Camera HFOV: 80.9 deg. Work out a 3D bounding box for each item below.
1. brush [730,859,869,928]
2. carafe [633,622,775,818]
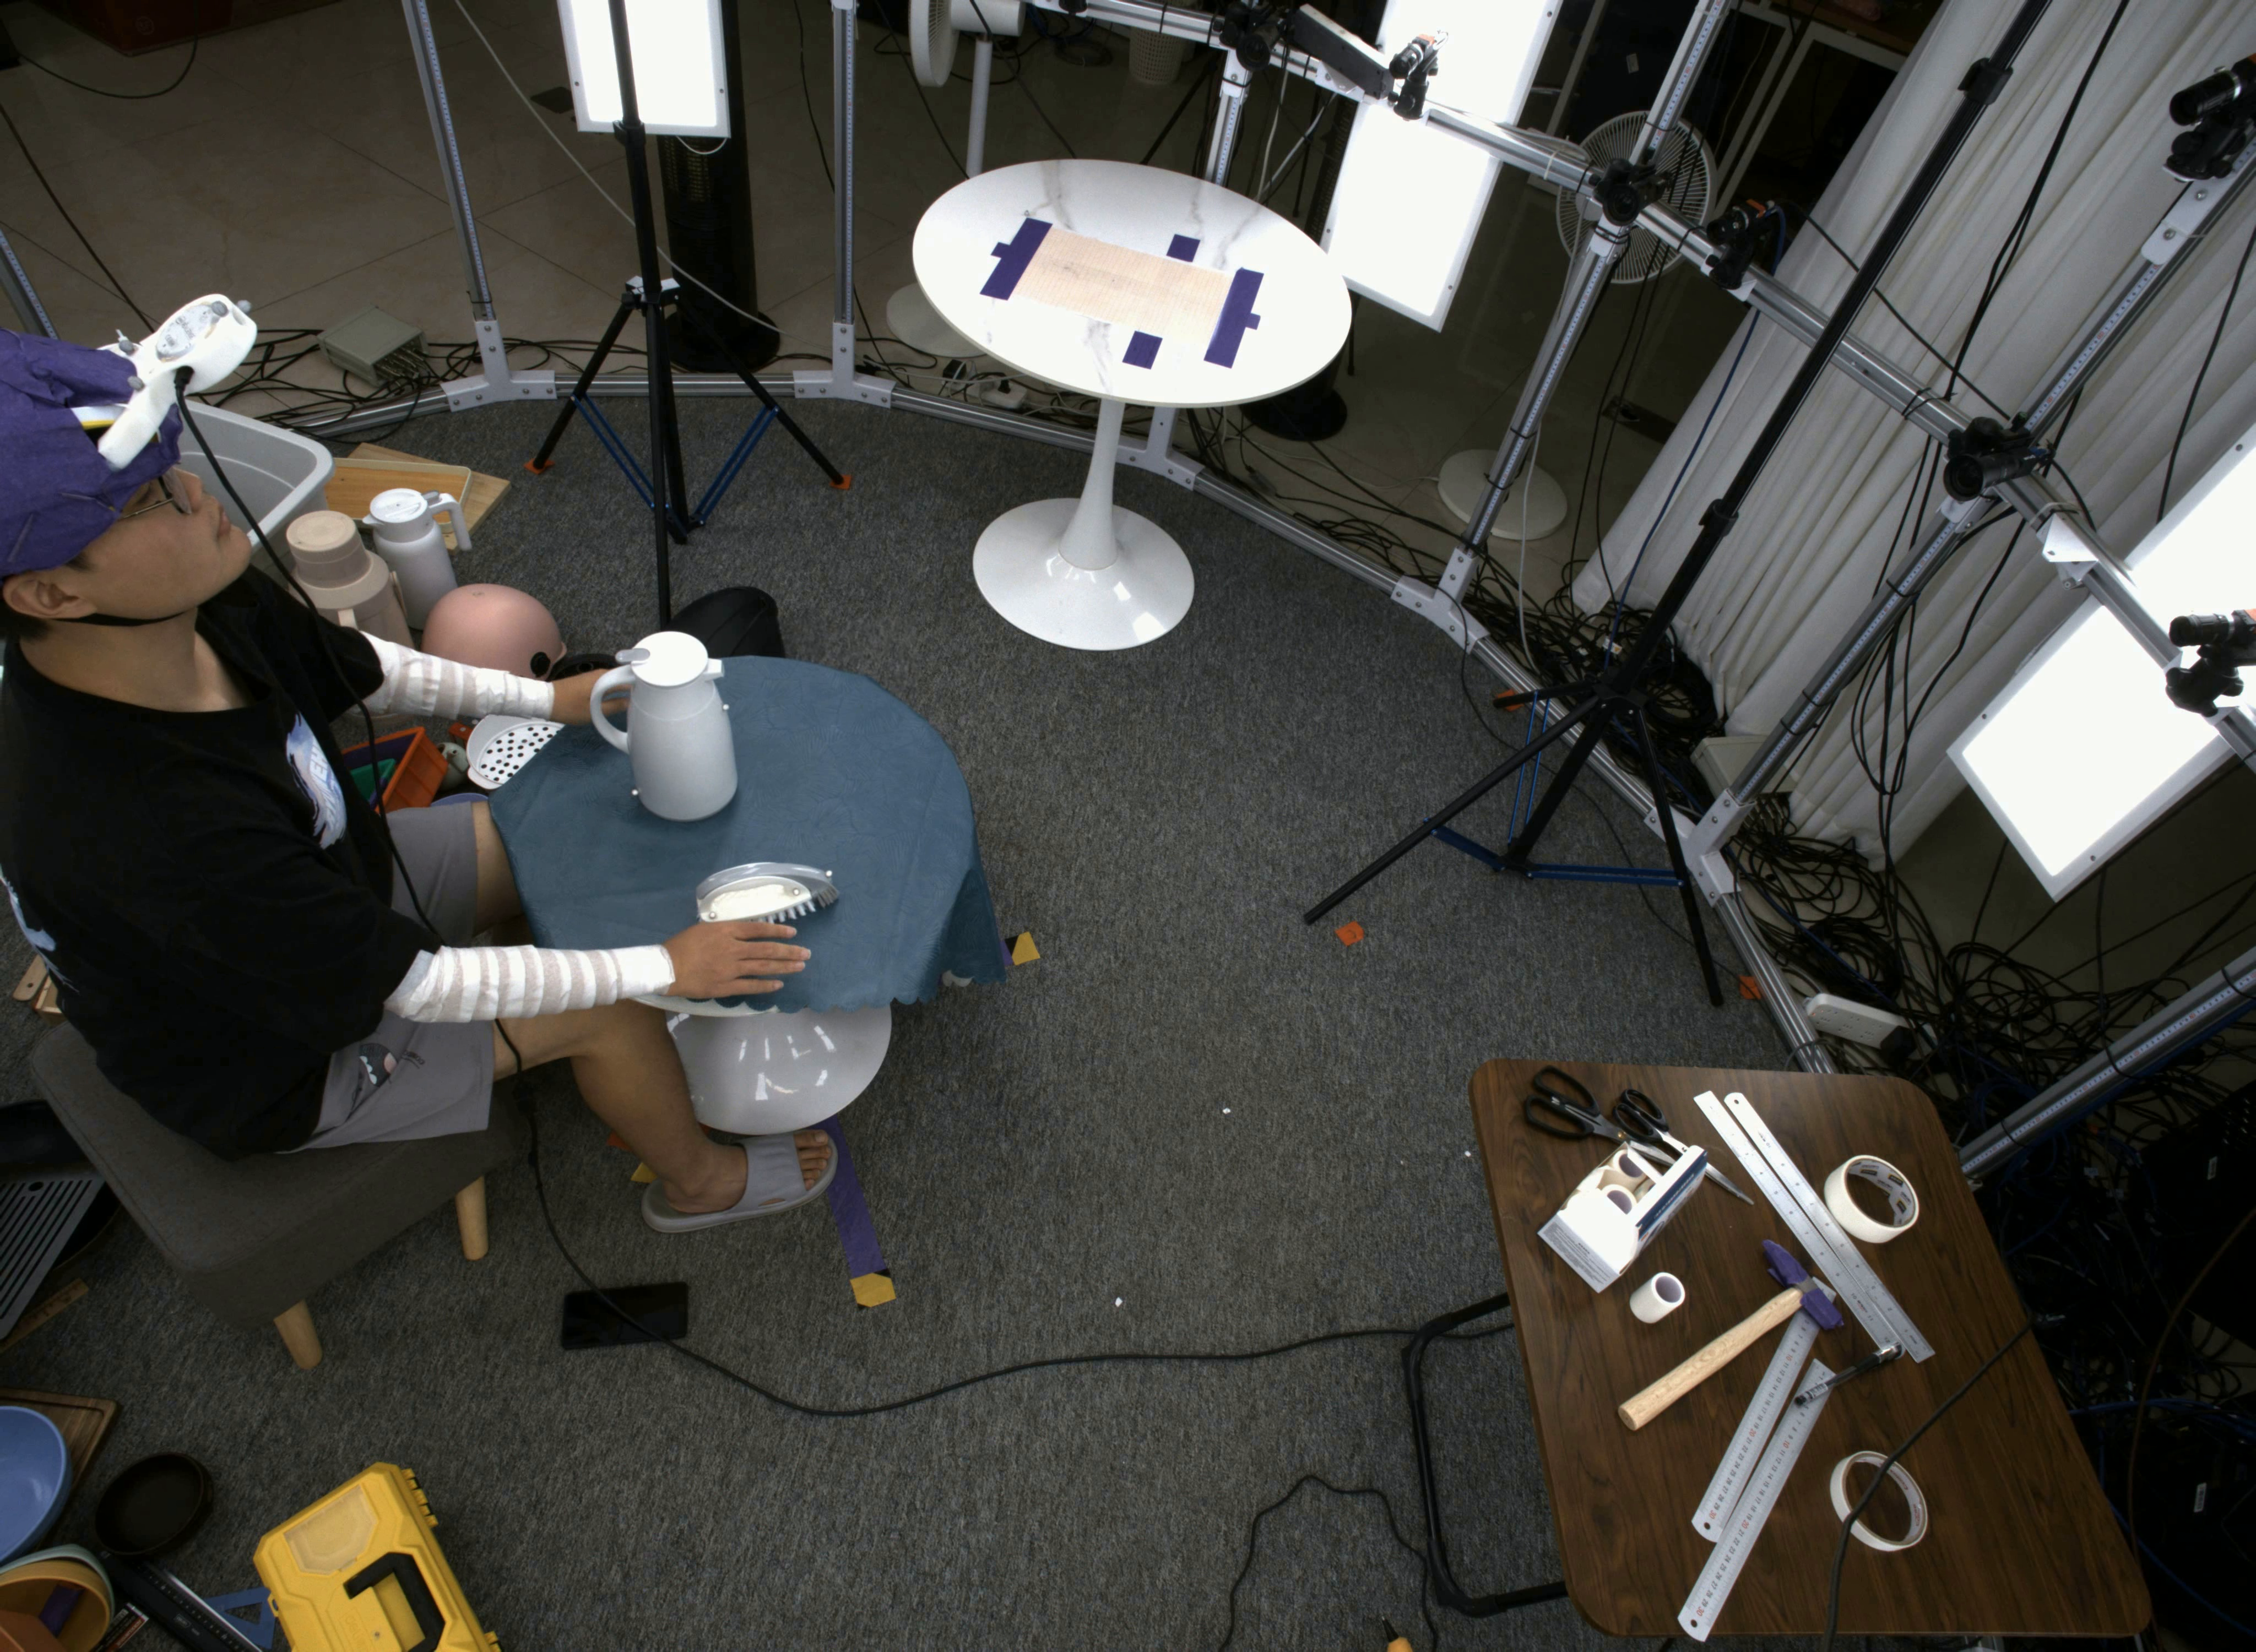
[{"bbox_3d":[-0.412,0.071,1.626,0.176,0.096,0.060,-8,57,-20],"label":"brush"},{"bbox_3d":[-0.547,-0.140,1.648,0.168,0.254,0.129,-2,53,-12],"label":"carafe"}]
